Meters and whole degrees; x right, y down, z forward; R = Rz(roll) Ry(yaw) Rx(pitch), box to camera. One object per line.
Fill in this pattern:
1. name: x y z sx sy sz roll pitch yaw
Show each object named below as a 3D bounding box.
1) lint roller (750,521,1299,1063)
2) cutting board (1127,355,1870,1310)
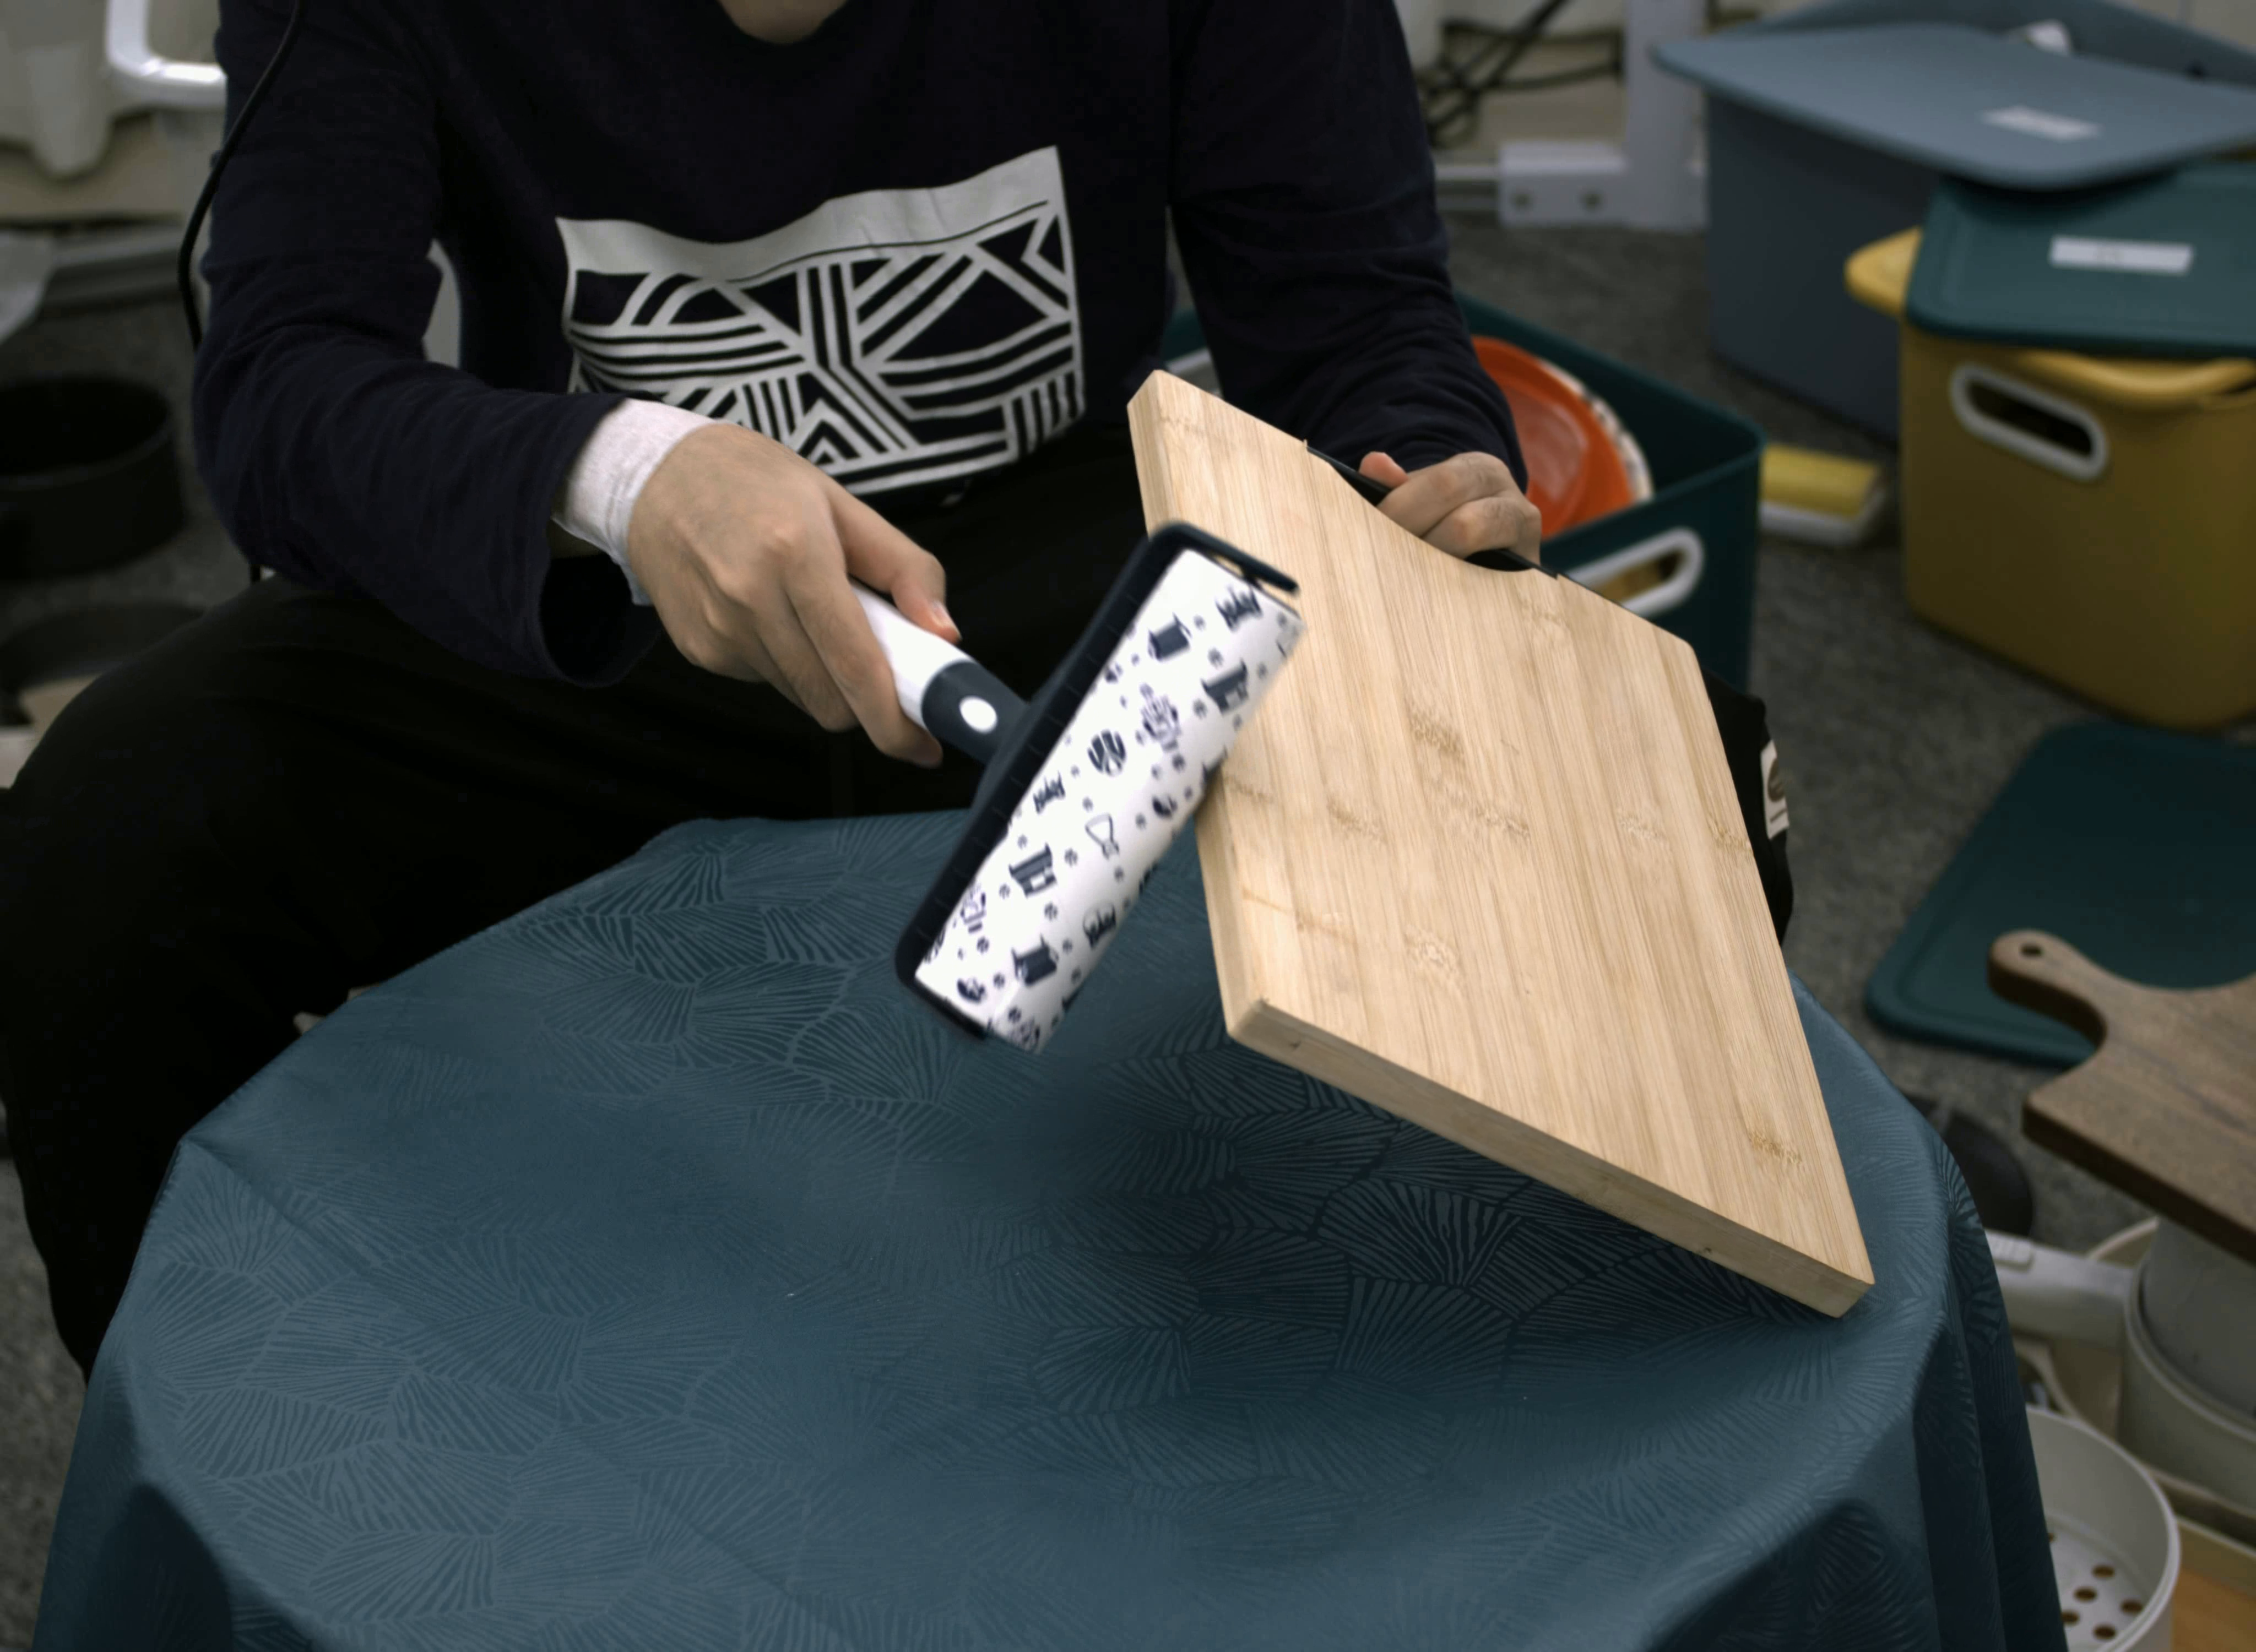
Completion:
1. lint roller: -0.062 -0.042 1.828 0.050 0.177 0.247 33 -1 -41
2. cutting board: 0.115 -0.005 1.863 0.250 0.023 0.355 26 31 -25
